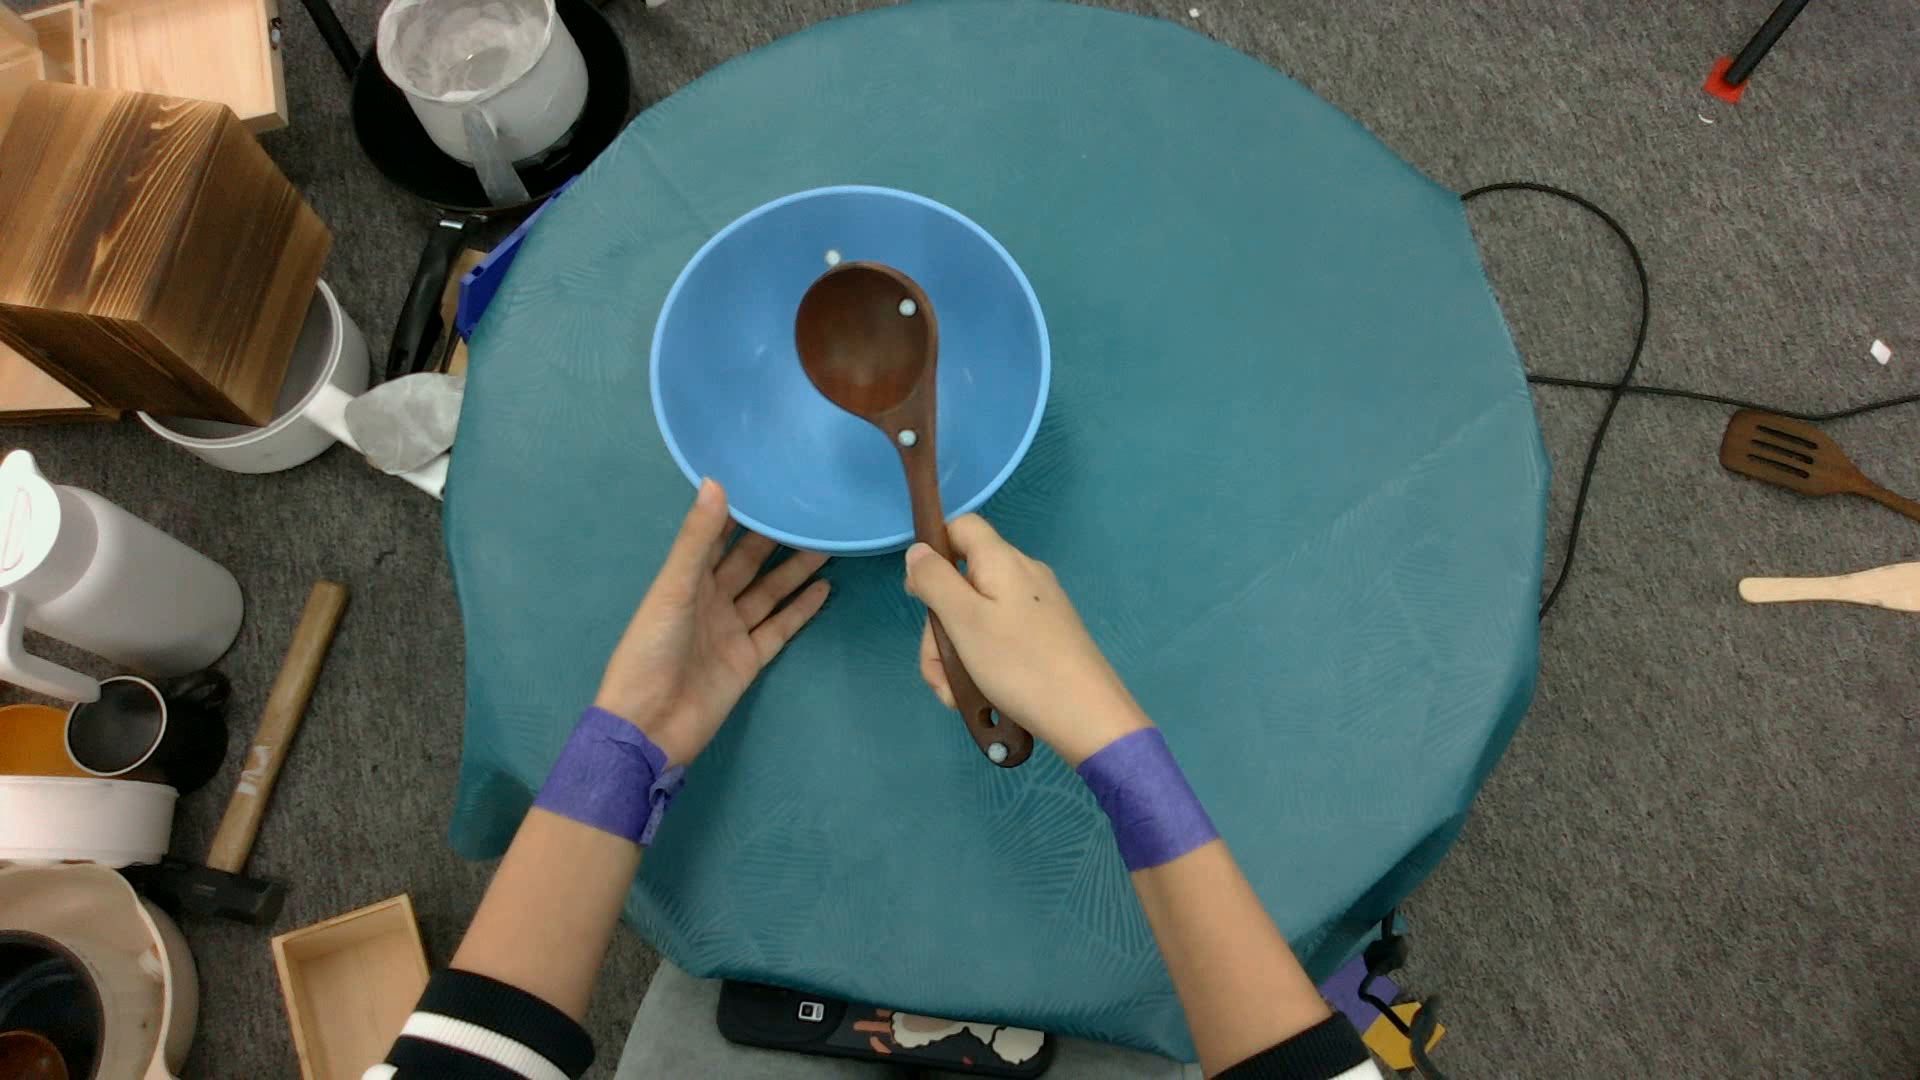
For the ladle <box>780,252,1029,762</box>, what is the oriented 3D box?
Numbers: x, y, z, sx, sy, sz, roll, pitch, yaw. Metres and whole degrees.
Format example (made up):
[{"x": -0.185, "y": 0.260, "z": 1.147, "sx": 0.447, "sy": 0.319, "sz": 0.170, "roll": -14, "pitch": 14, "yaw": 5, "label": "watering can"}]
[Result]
[{"x": -0.027, "y": -0.022, "z": 0.627, "sx": 0.076, "sy": 0.065, "sz": 0.261, "roll": -35, "pitch": 55, "yaw": 30, "label": "ladle"}]

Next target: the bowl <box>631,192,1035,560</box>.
[{"x": -0.065, "y": -0.071, "z": 0.713, "sx": 0.196, "sy": 0.095, "sz": 0.197, "roll": 2, "pitch": 69, "yaw": -6, "label": "bowl"}]
